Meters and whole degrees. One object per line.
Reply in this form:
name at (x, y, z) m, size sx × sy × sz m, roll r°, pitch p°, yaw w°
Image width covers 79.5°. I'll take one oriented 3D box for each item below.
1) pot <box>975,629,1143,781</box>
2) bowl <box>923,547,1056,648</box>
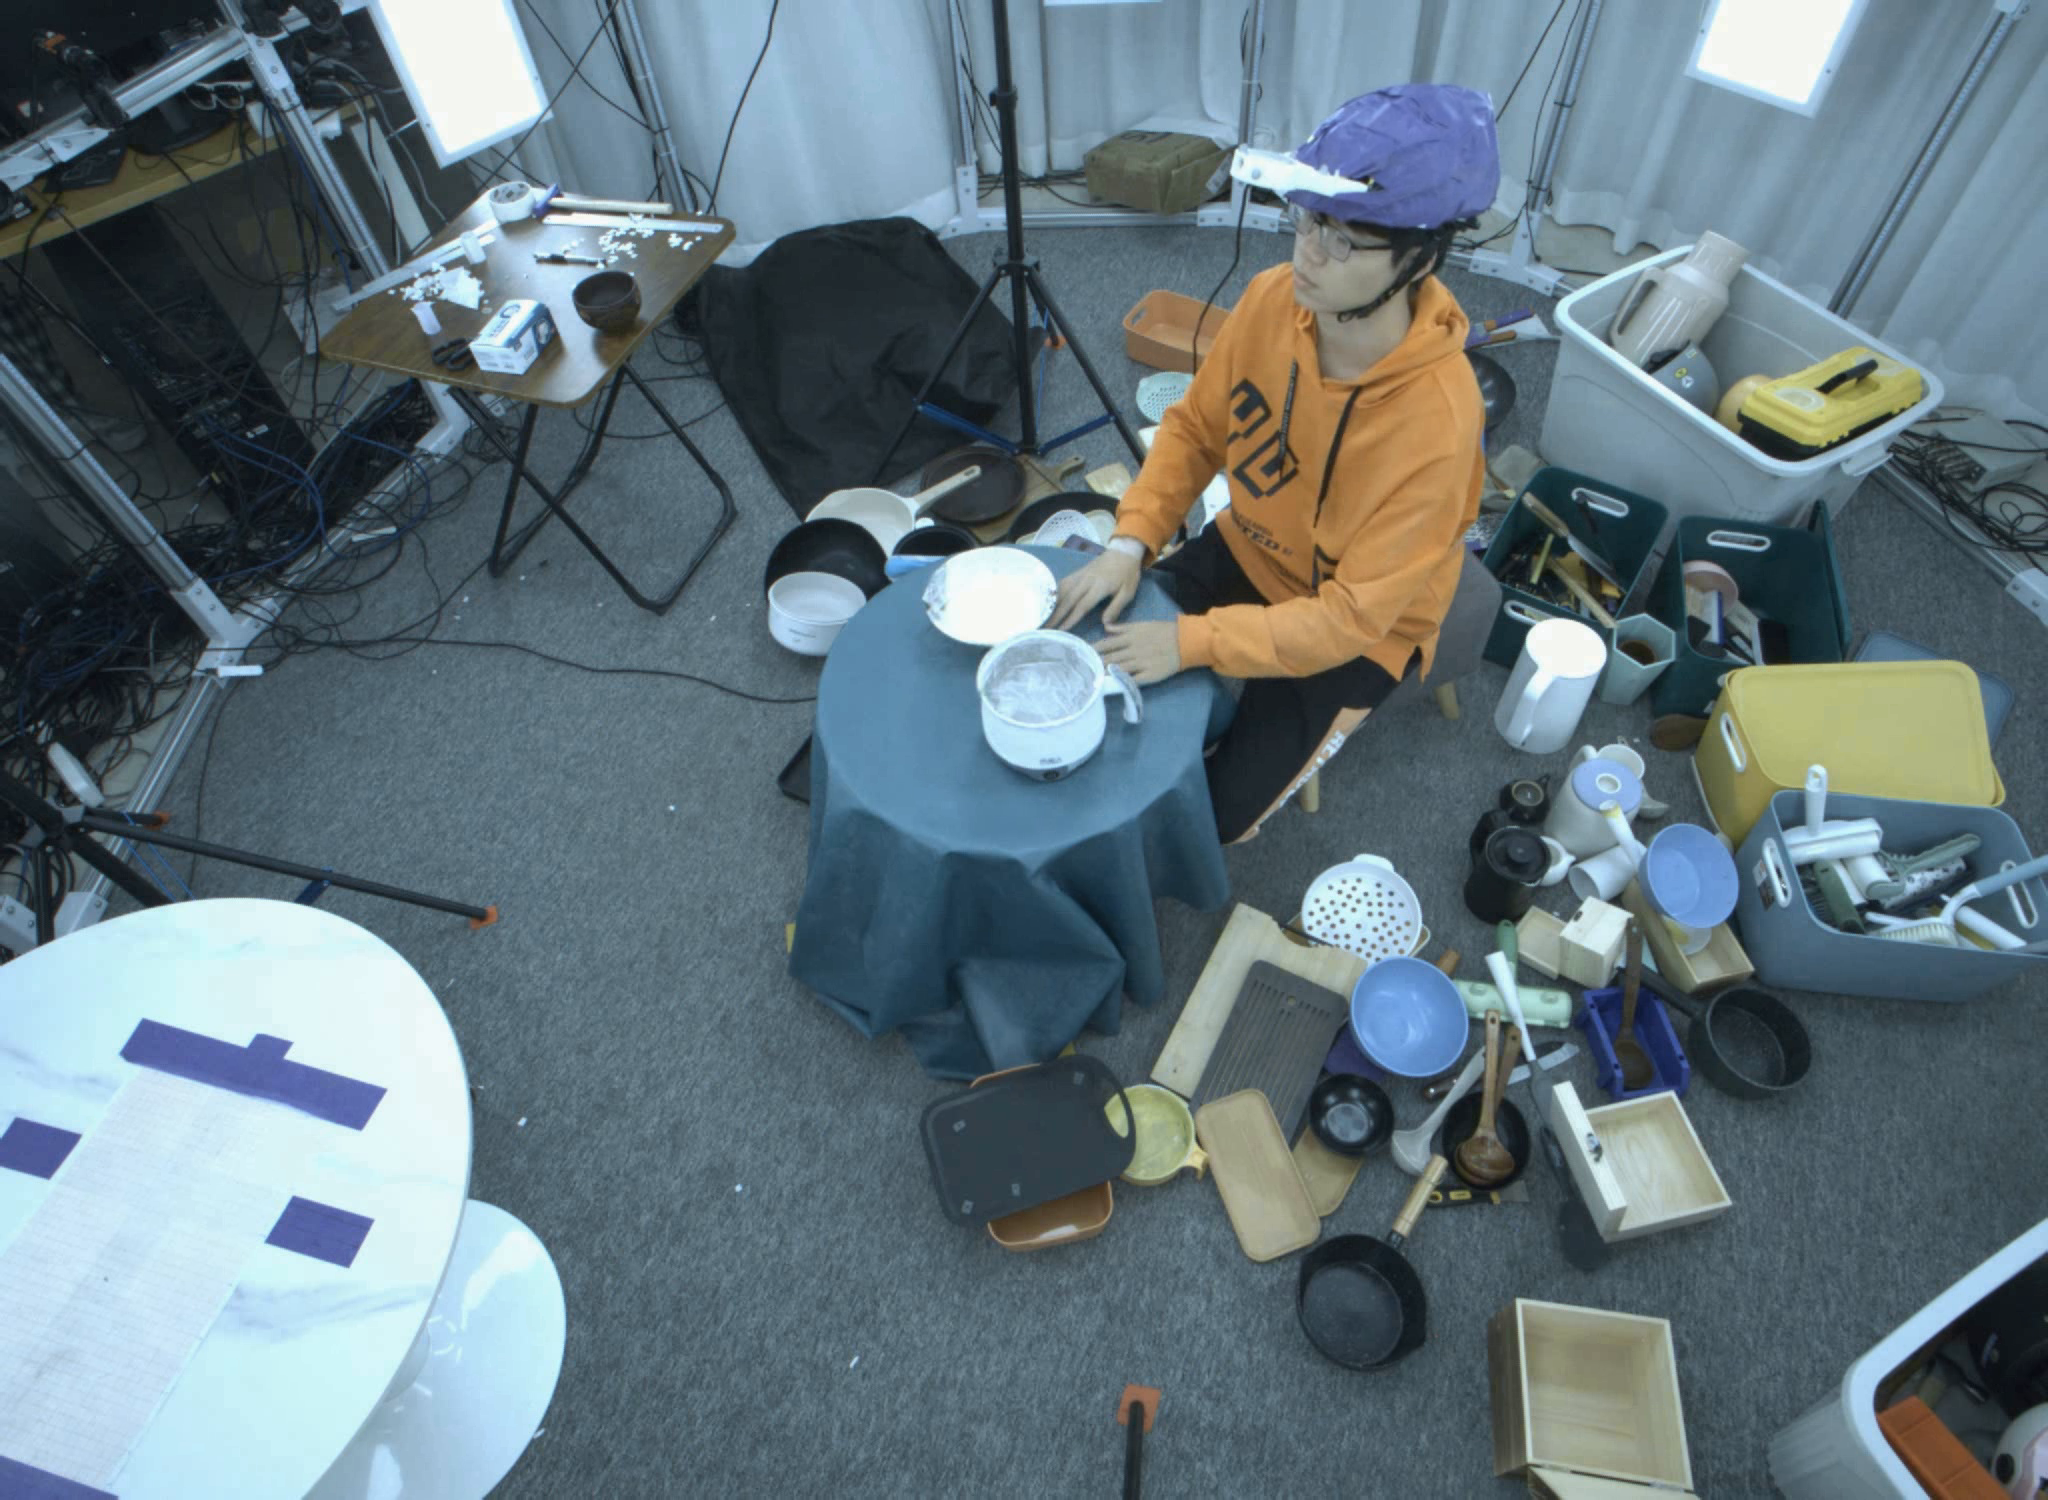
pot at (0.053, -0.068, 1.748) m, size 0.234 × 0.138 × 0.176 m, roll -8°, pitch 55°, yaw -3°
bowl at (-0.052, -0.216, 1.896) m, size 0.204 × 0.079 × 0.202 m, roll 0°, pitch 54°, yaw 1°
